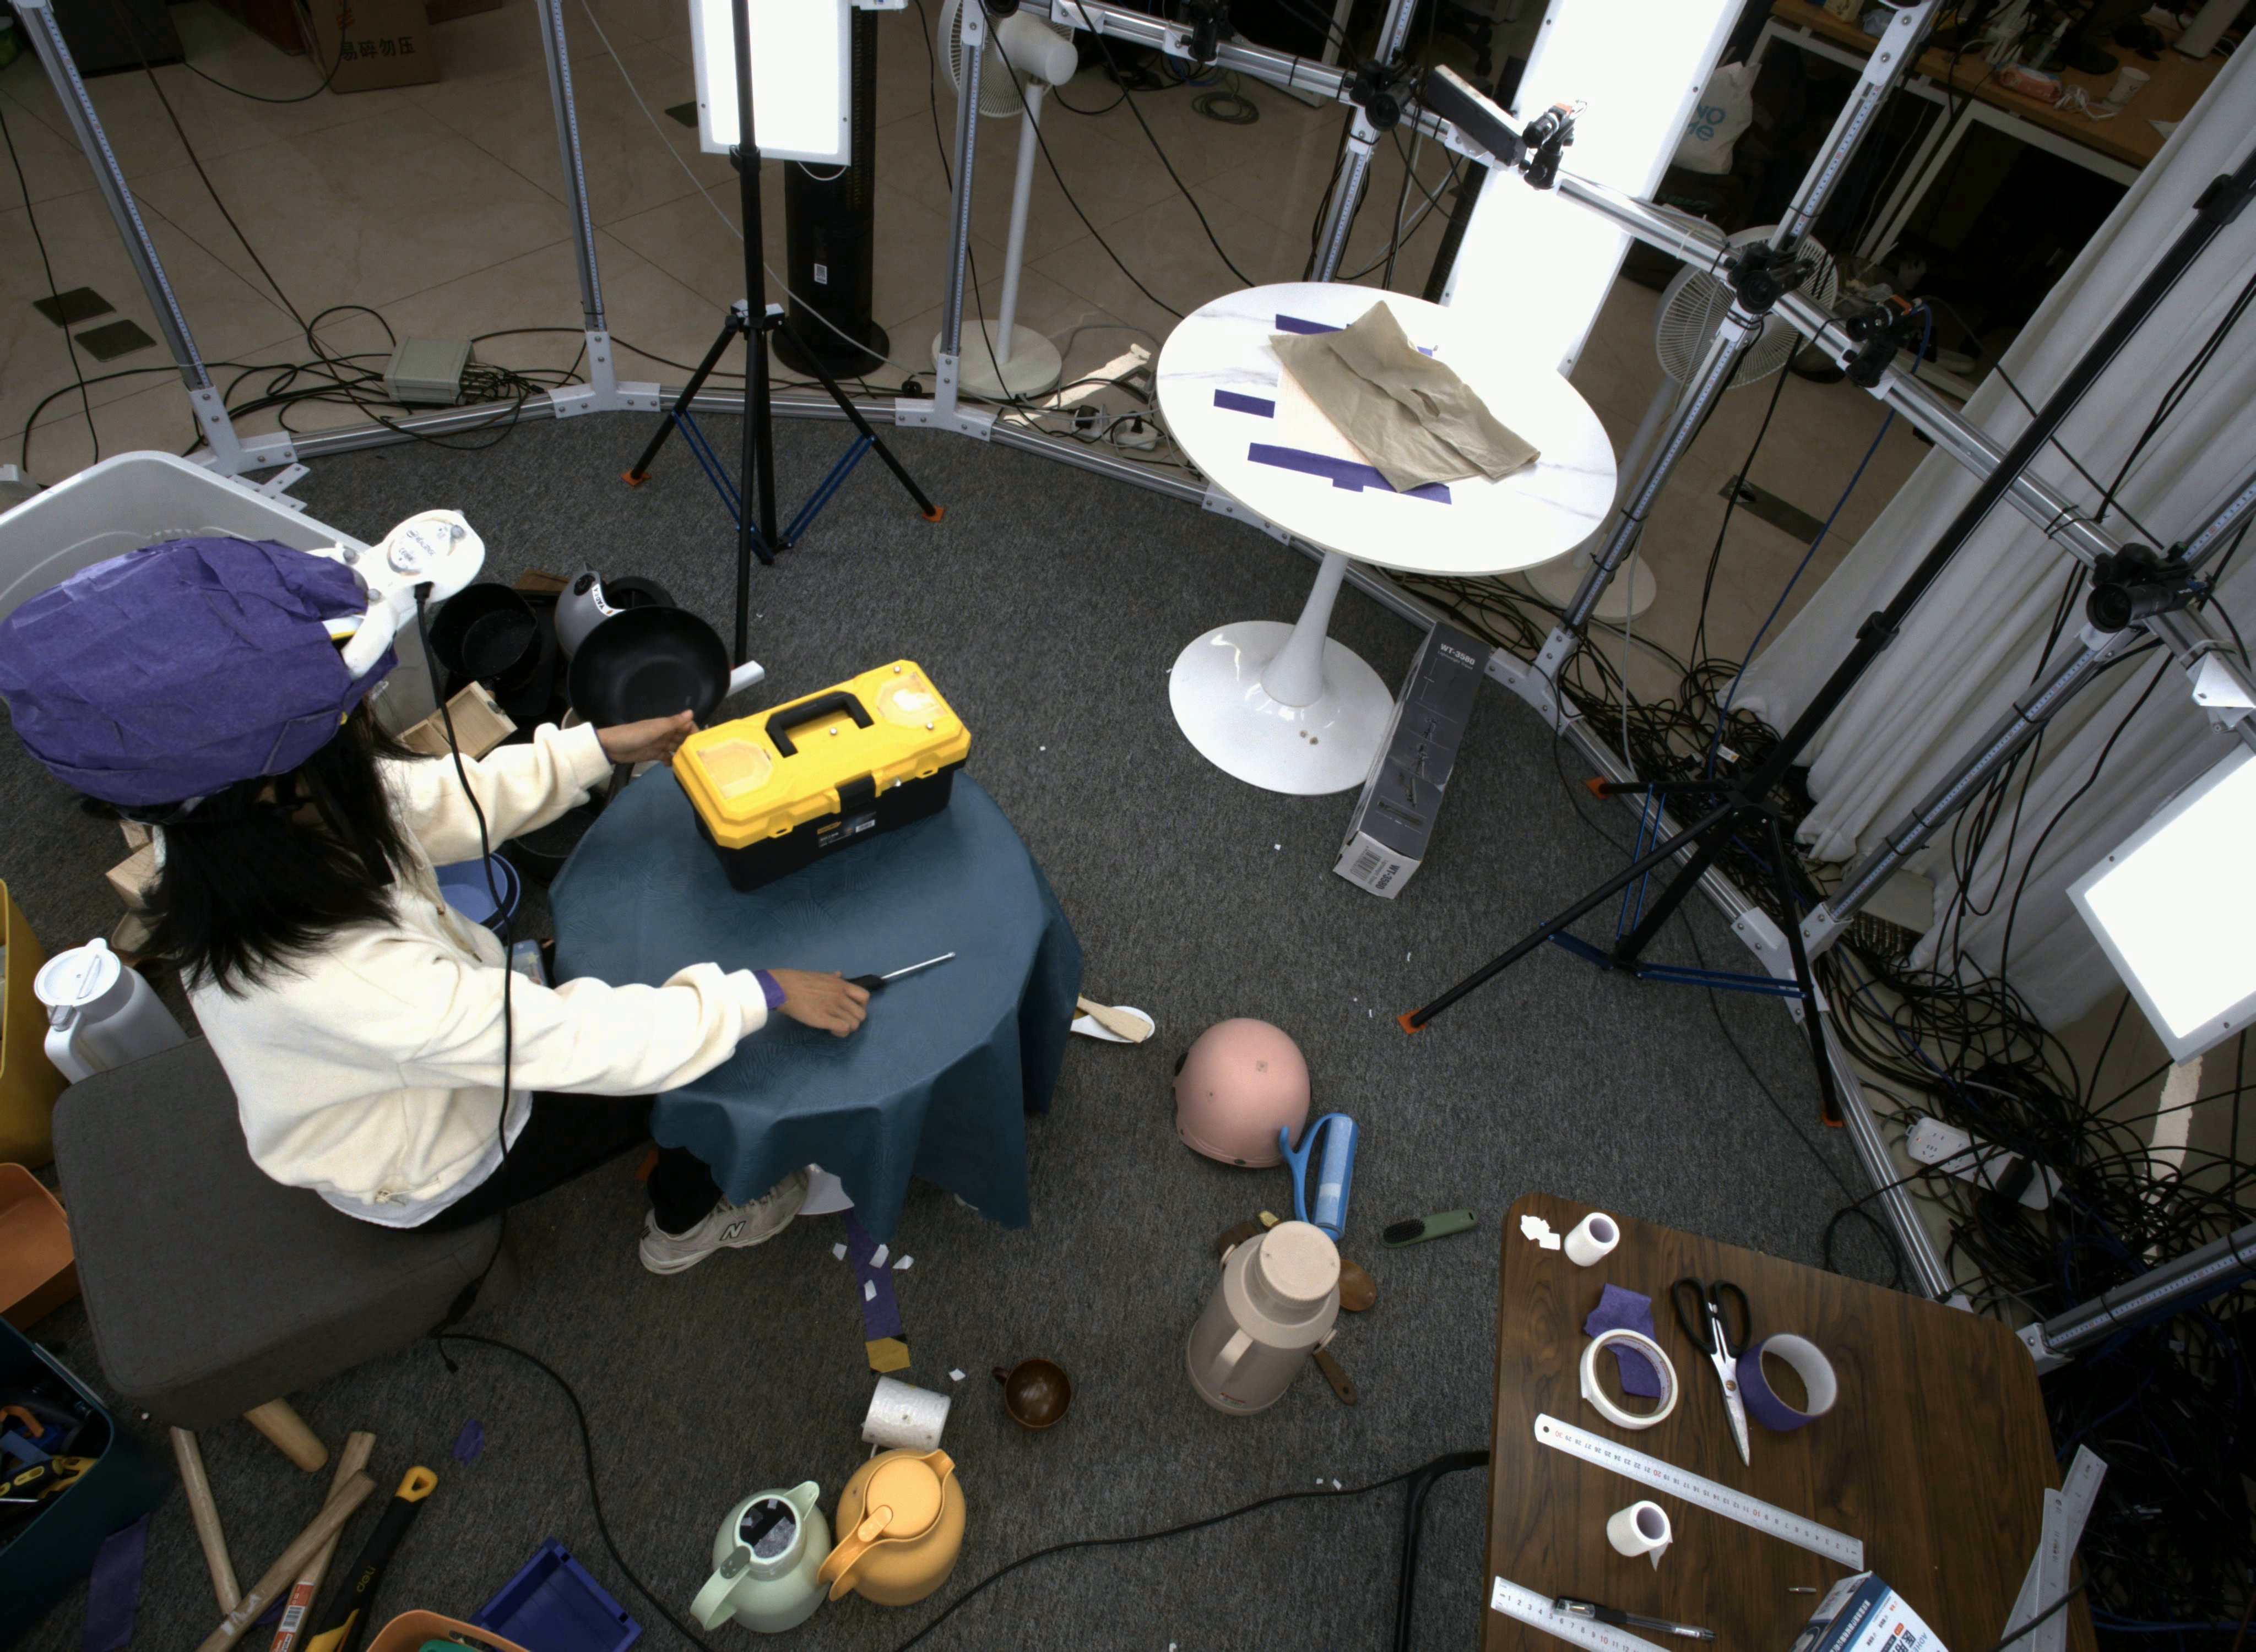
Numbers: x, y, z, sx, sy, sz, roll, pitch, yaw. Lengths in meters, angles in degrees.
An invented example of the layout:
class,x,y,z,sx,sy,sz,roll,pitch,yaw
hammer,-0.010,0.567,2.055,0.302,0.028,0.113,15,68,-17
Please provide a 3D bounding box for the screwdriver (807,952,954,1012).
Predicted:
class,x,y,z,sx,sy,sz,roll,pitch,yaw
screwdriver,-0.299,0.183,1.594,0.197,0.032,0.030,-19,59,-28

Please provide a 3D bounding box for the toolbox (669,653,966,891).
class,x,y,z,sx,sy,sz,roll,pitch,yaw
toolbox,-0.392,-0.068,1.666,0.353,0.176,0.177,-25,62,-29
